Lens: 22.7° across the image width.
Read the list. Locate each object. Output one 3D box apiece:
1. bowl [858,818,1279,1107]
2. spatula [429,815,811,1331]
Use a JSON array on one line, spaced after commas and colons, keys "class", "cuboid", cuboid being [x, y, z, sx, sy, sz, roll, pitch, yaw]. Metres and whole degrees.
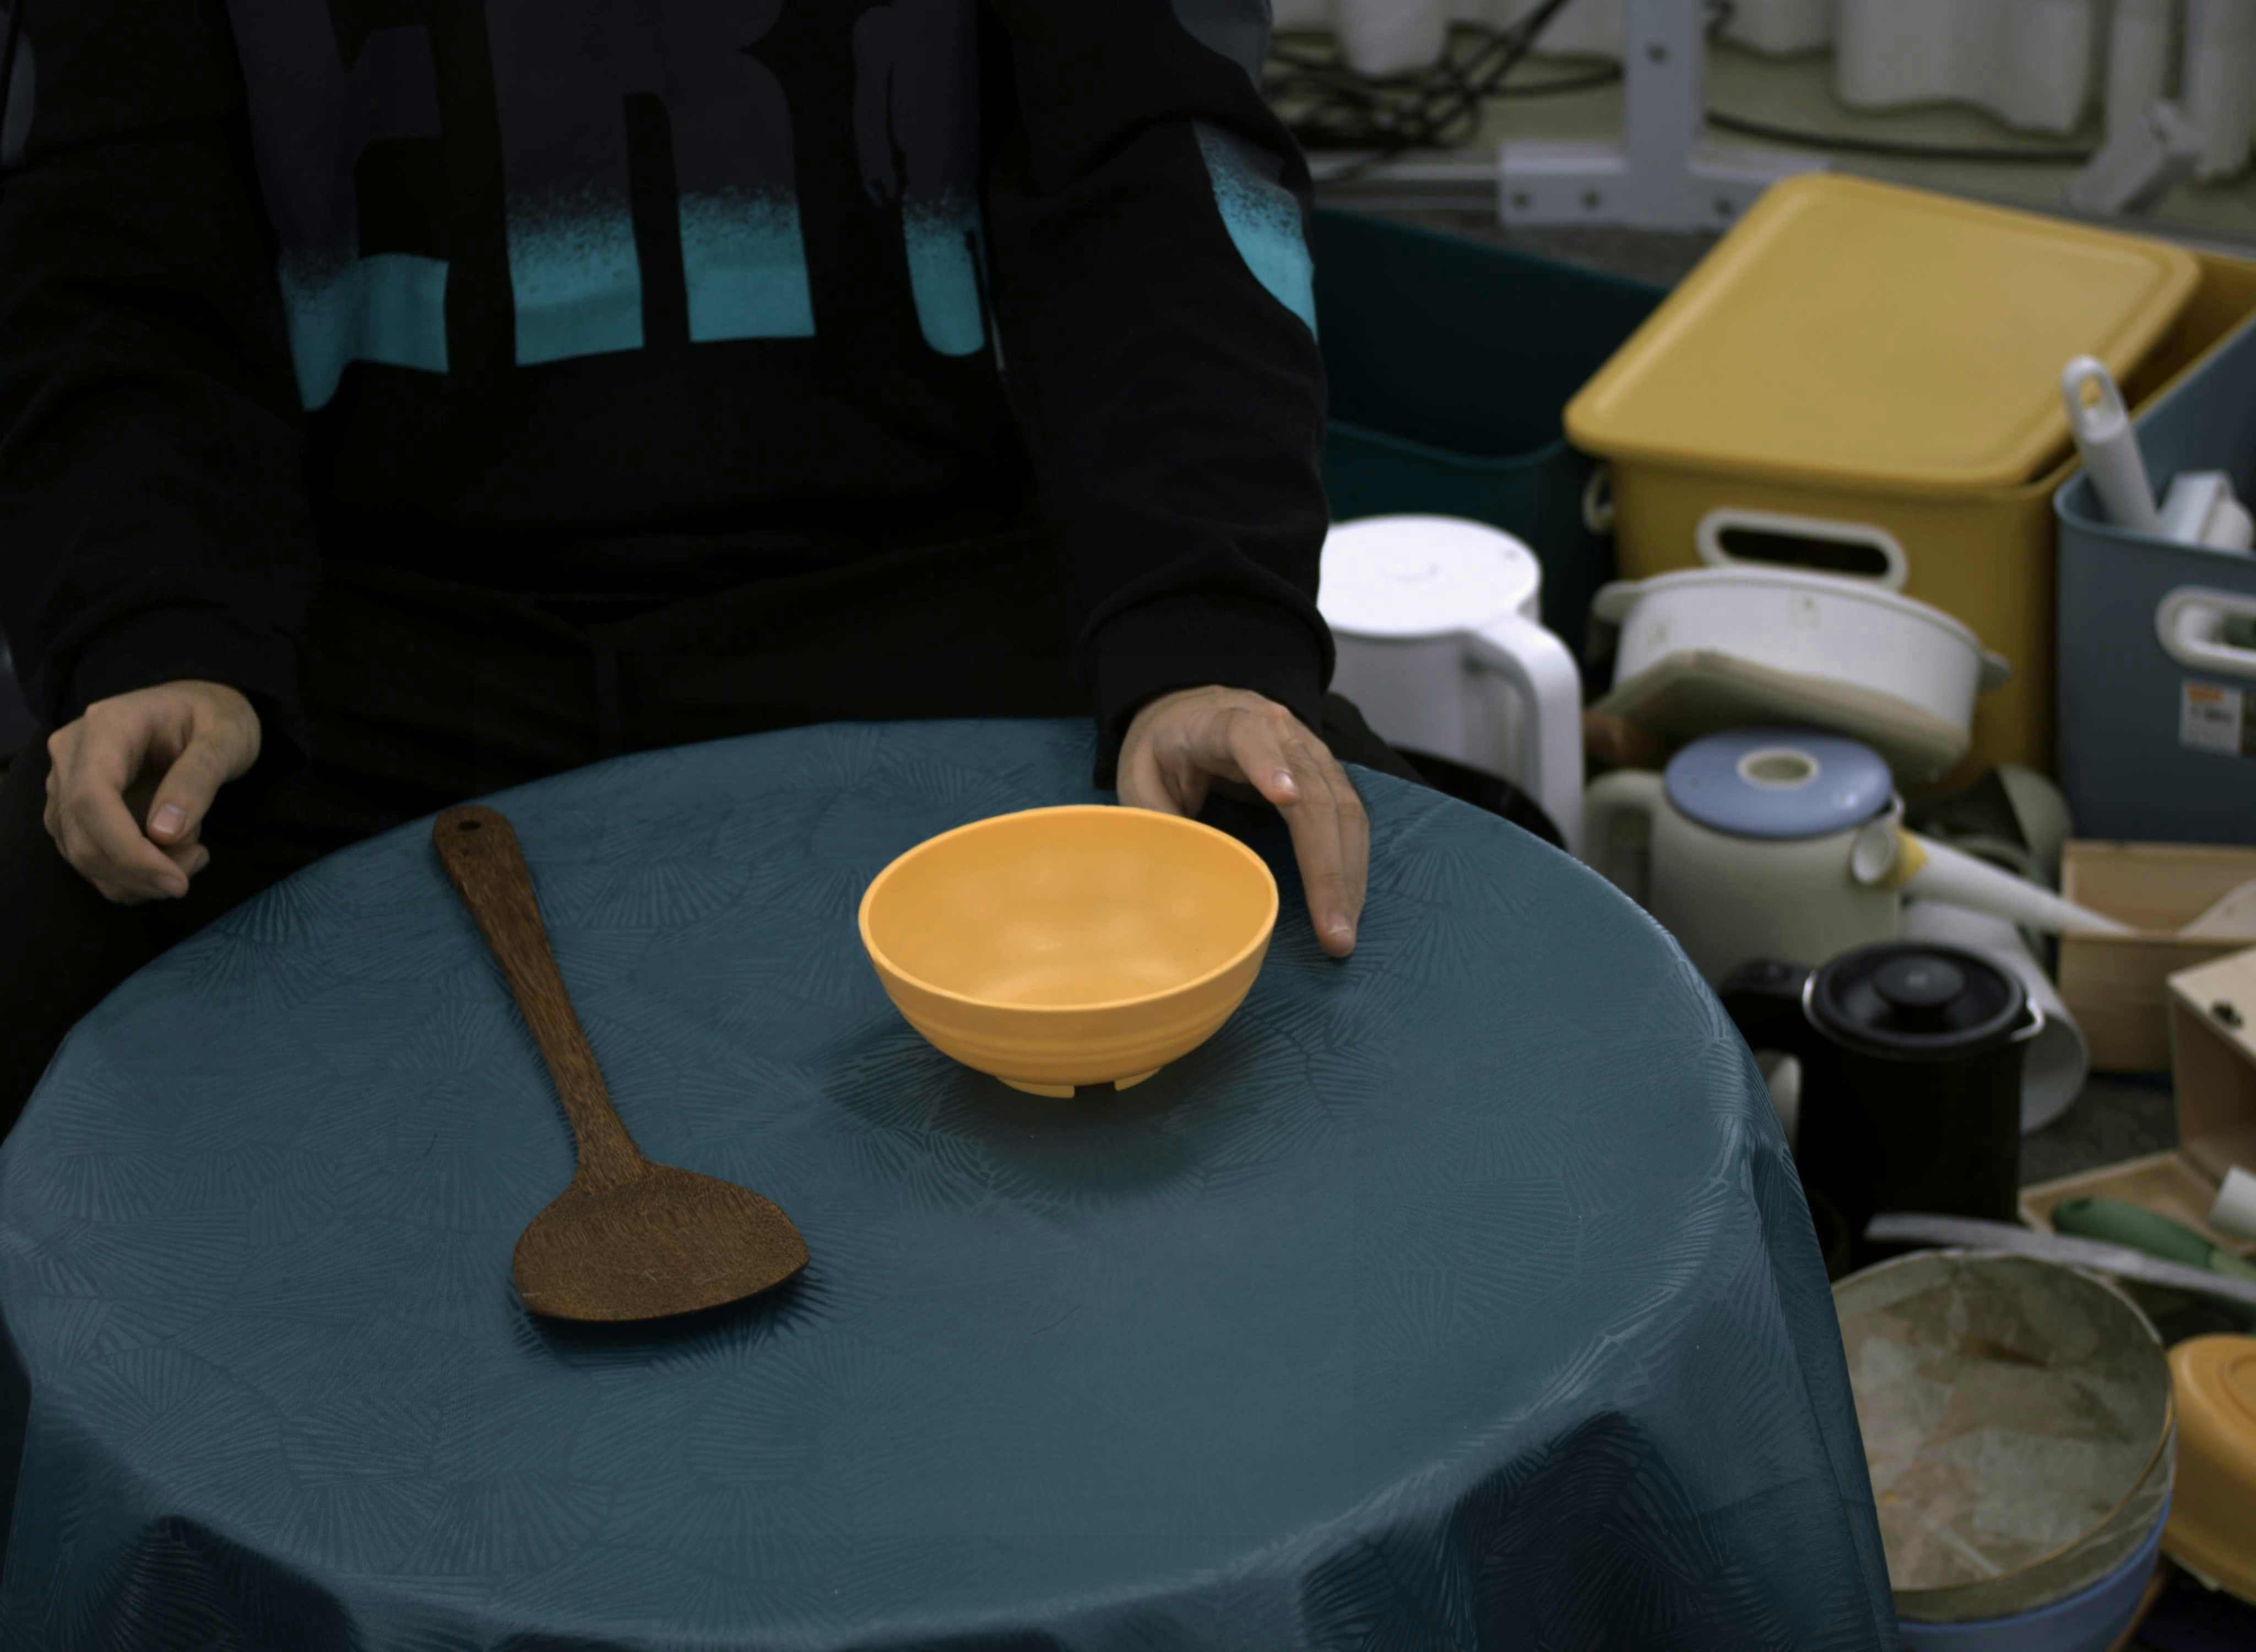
[{"class": "bowl", "cuboid": [-0.020, 0.055, 1.933, 0.144, 0.059, 0.147, 0, 25, 1]}, {"class": "spatula", "cuboid": [-0.197, 0.077, 1.952, 0.096, 0.015, 0.389, -10, 28, -14]}]
